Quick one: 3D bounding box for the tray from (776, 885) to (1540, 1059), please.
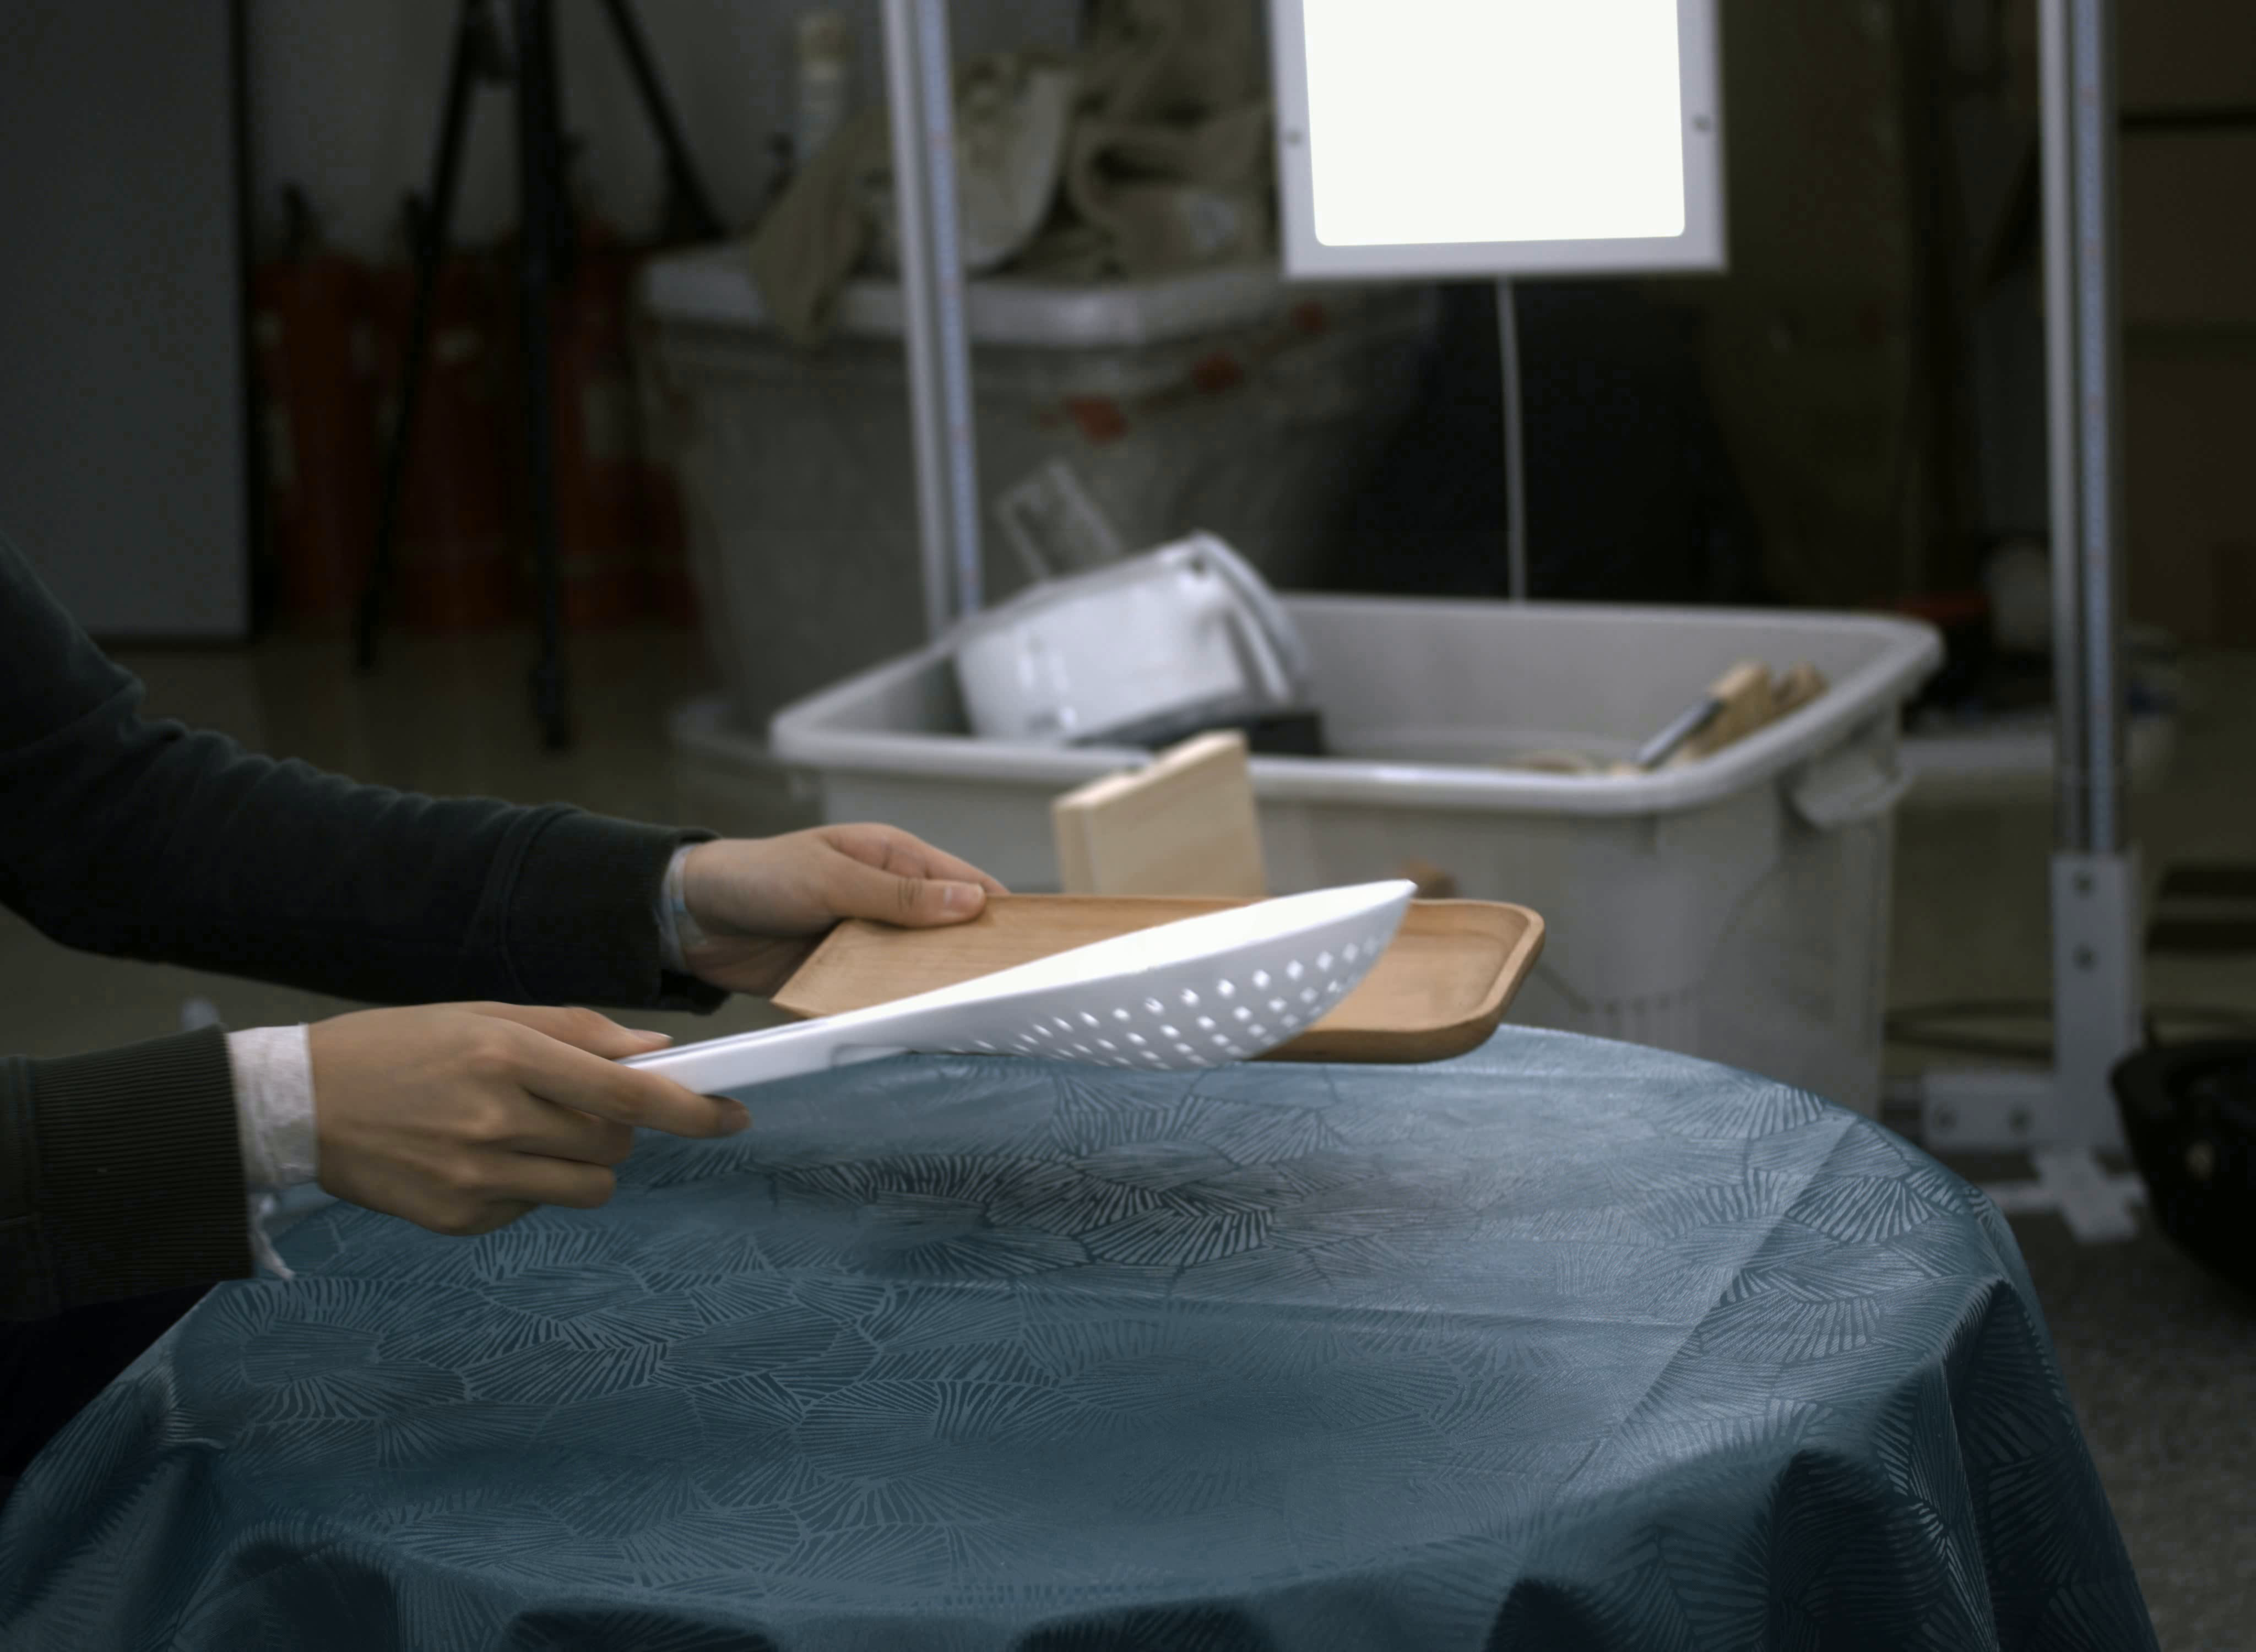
[{"bbox_3d":[0.011,0.049,1.869,0.254,0.023,0.128,0,17,19],"label":"tray"}]

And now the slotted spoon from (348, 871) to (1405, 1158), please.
[{"bbox_3d":[-0.081,0.060,1.697,0.354,0.046,0.134,-8,3,19],"label":"slotted spoon"}]
